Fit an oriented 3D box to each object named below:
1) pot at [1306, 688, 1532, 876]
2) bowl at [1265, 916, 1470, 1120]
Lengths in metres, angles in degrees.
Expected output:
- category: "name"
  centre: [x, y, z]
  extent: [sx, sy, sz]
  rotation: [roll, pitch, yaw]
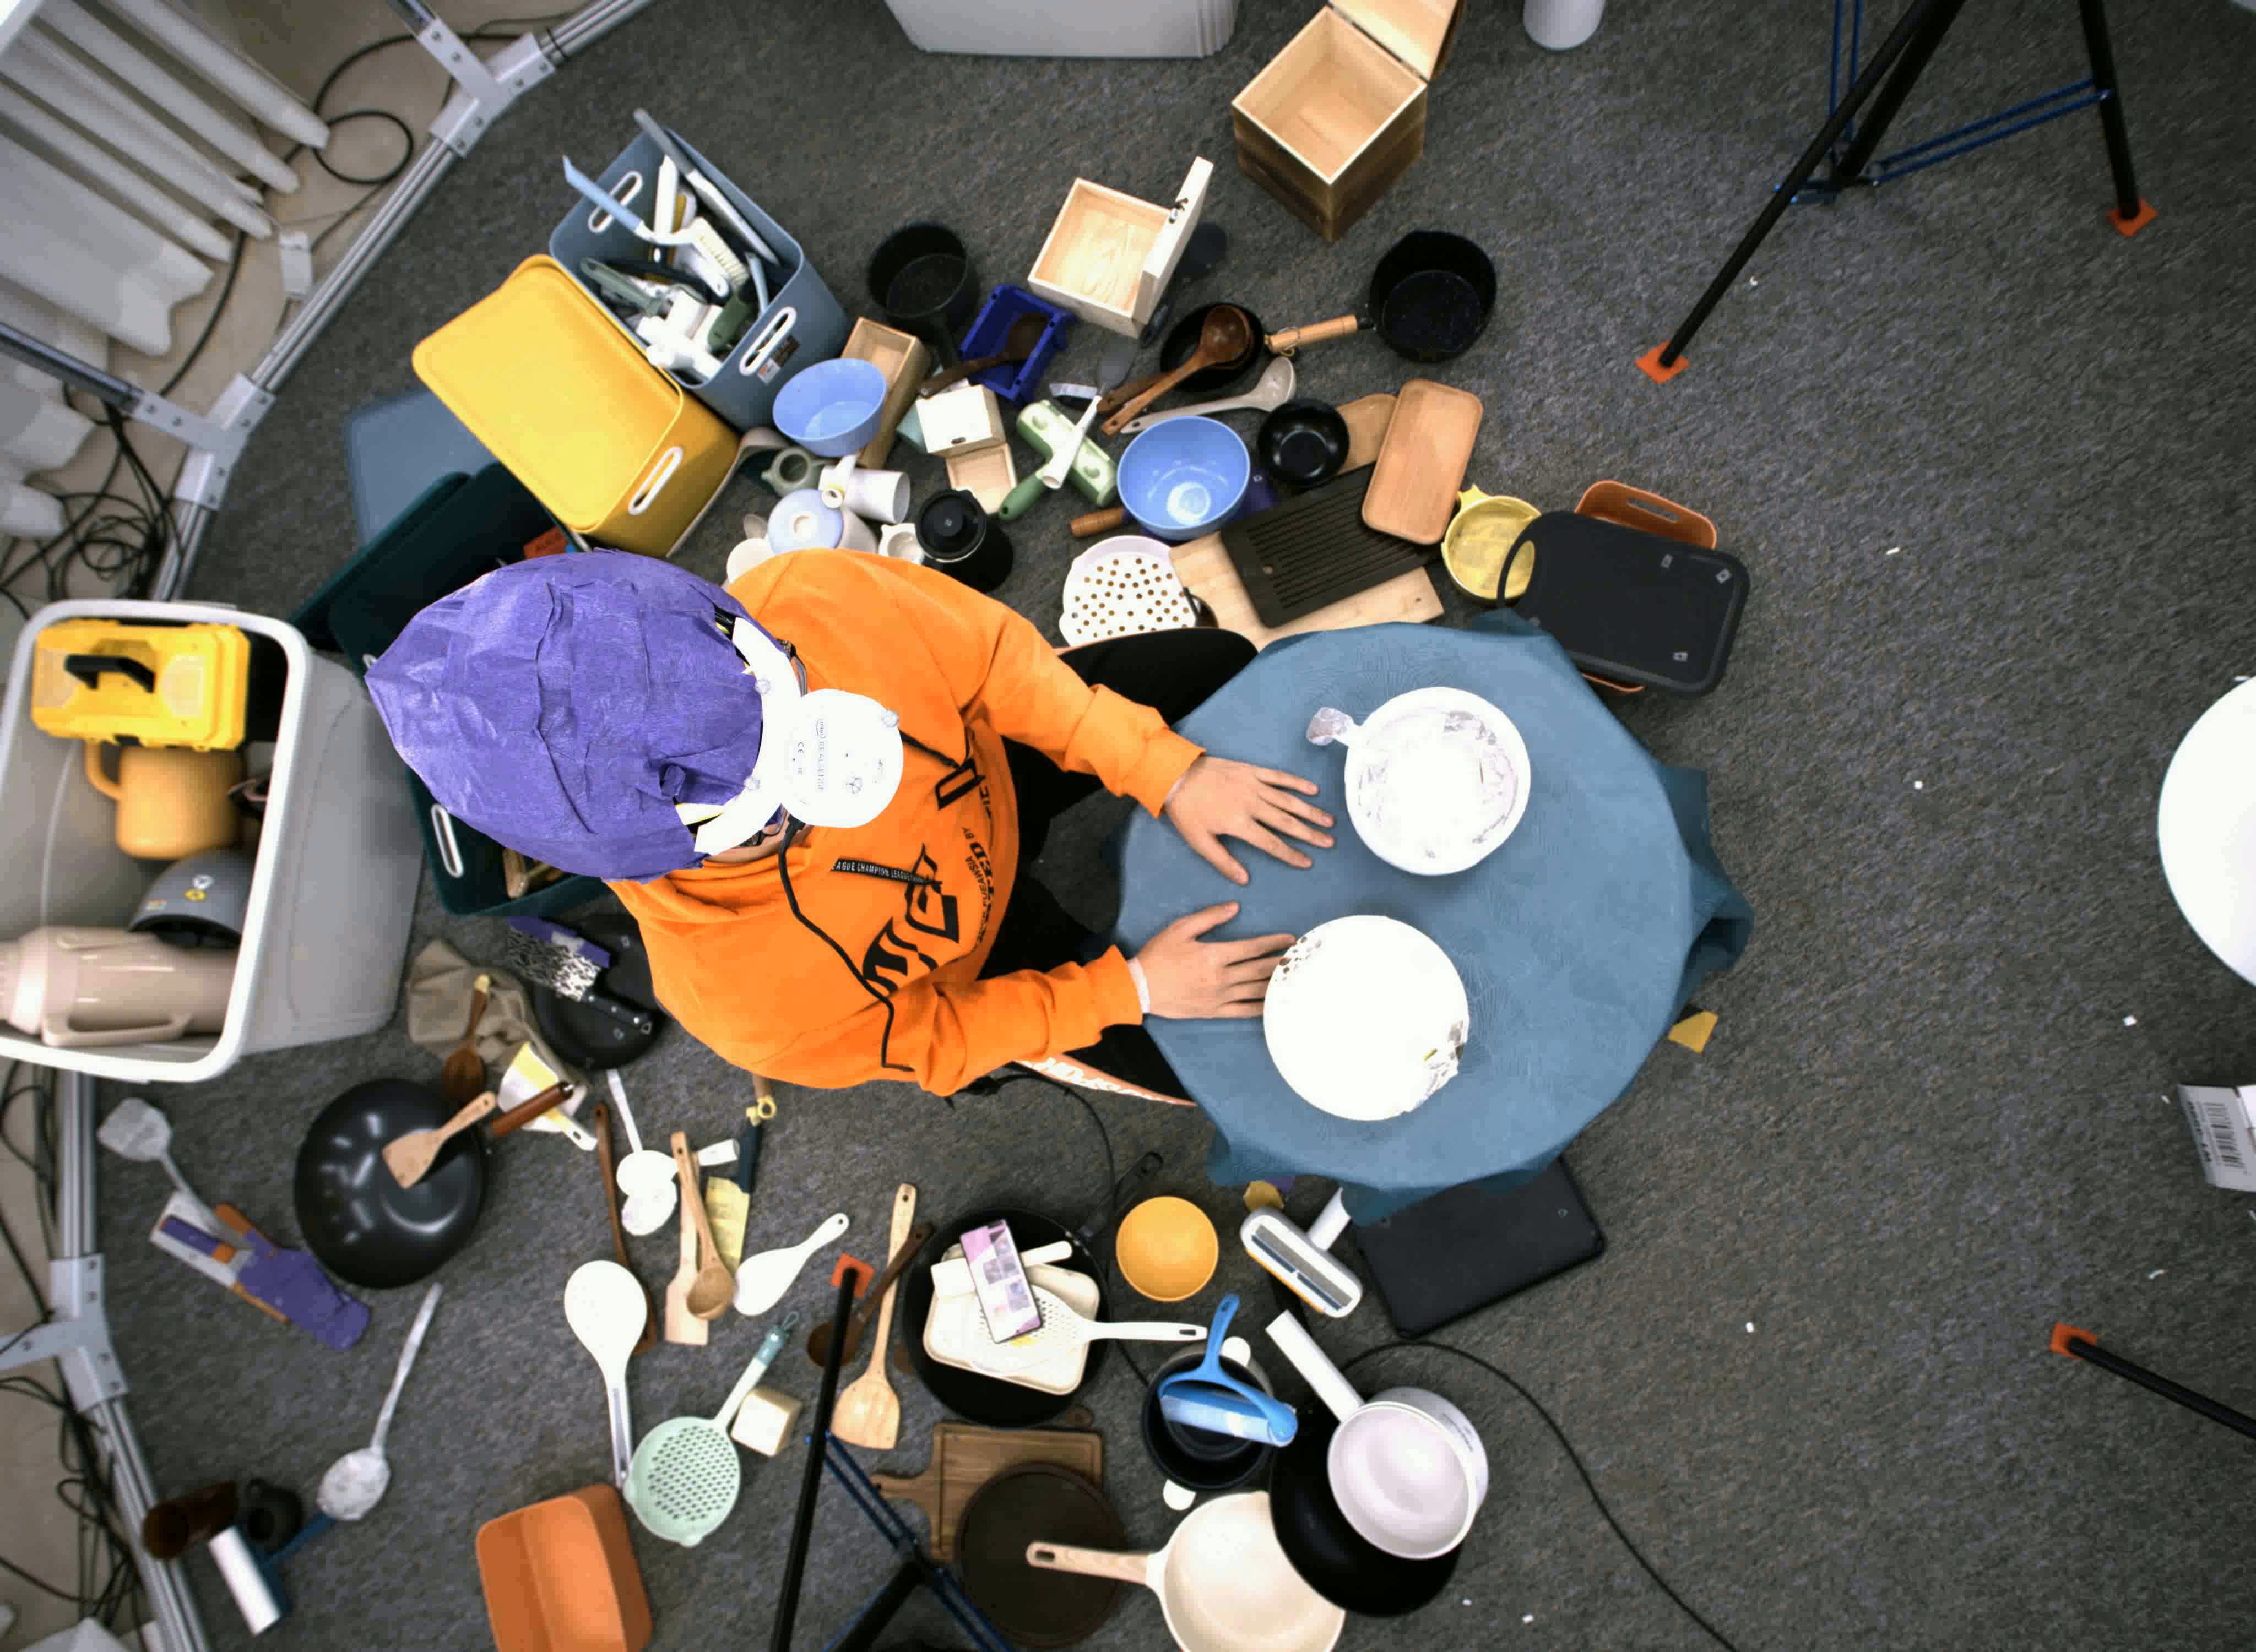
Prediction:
- category: "pot"
  centre: [0.285, -0.055, 1.394]
  extent: [0.233, 0.137, 0.179]
  rotation: [29, 91, 11]
- category: "bowl"
  centre: [0.246, 0.194, 1.420]
  extent: [0.205, 0.078, 0.203]
  rotation: [-1, 86, 13]
